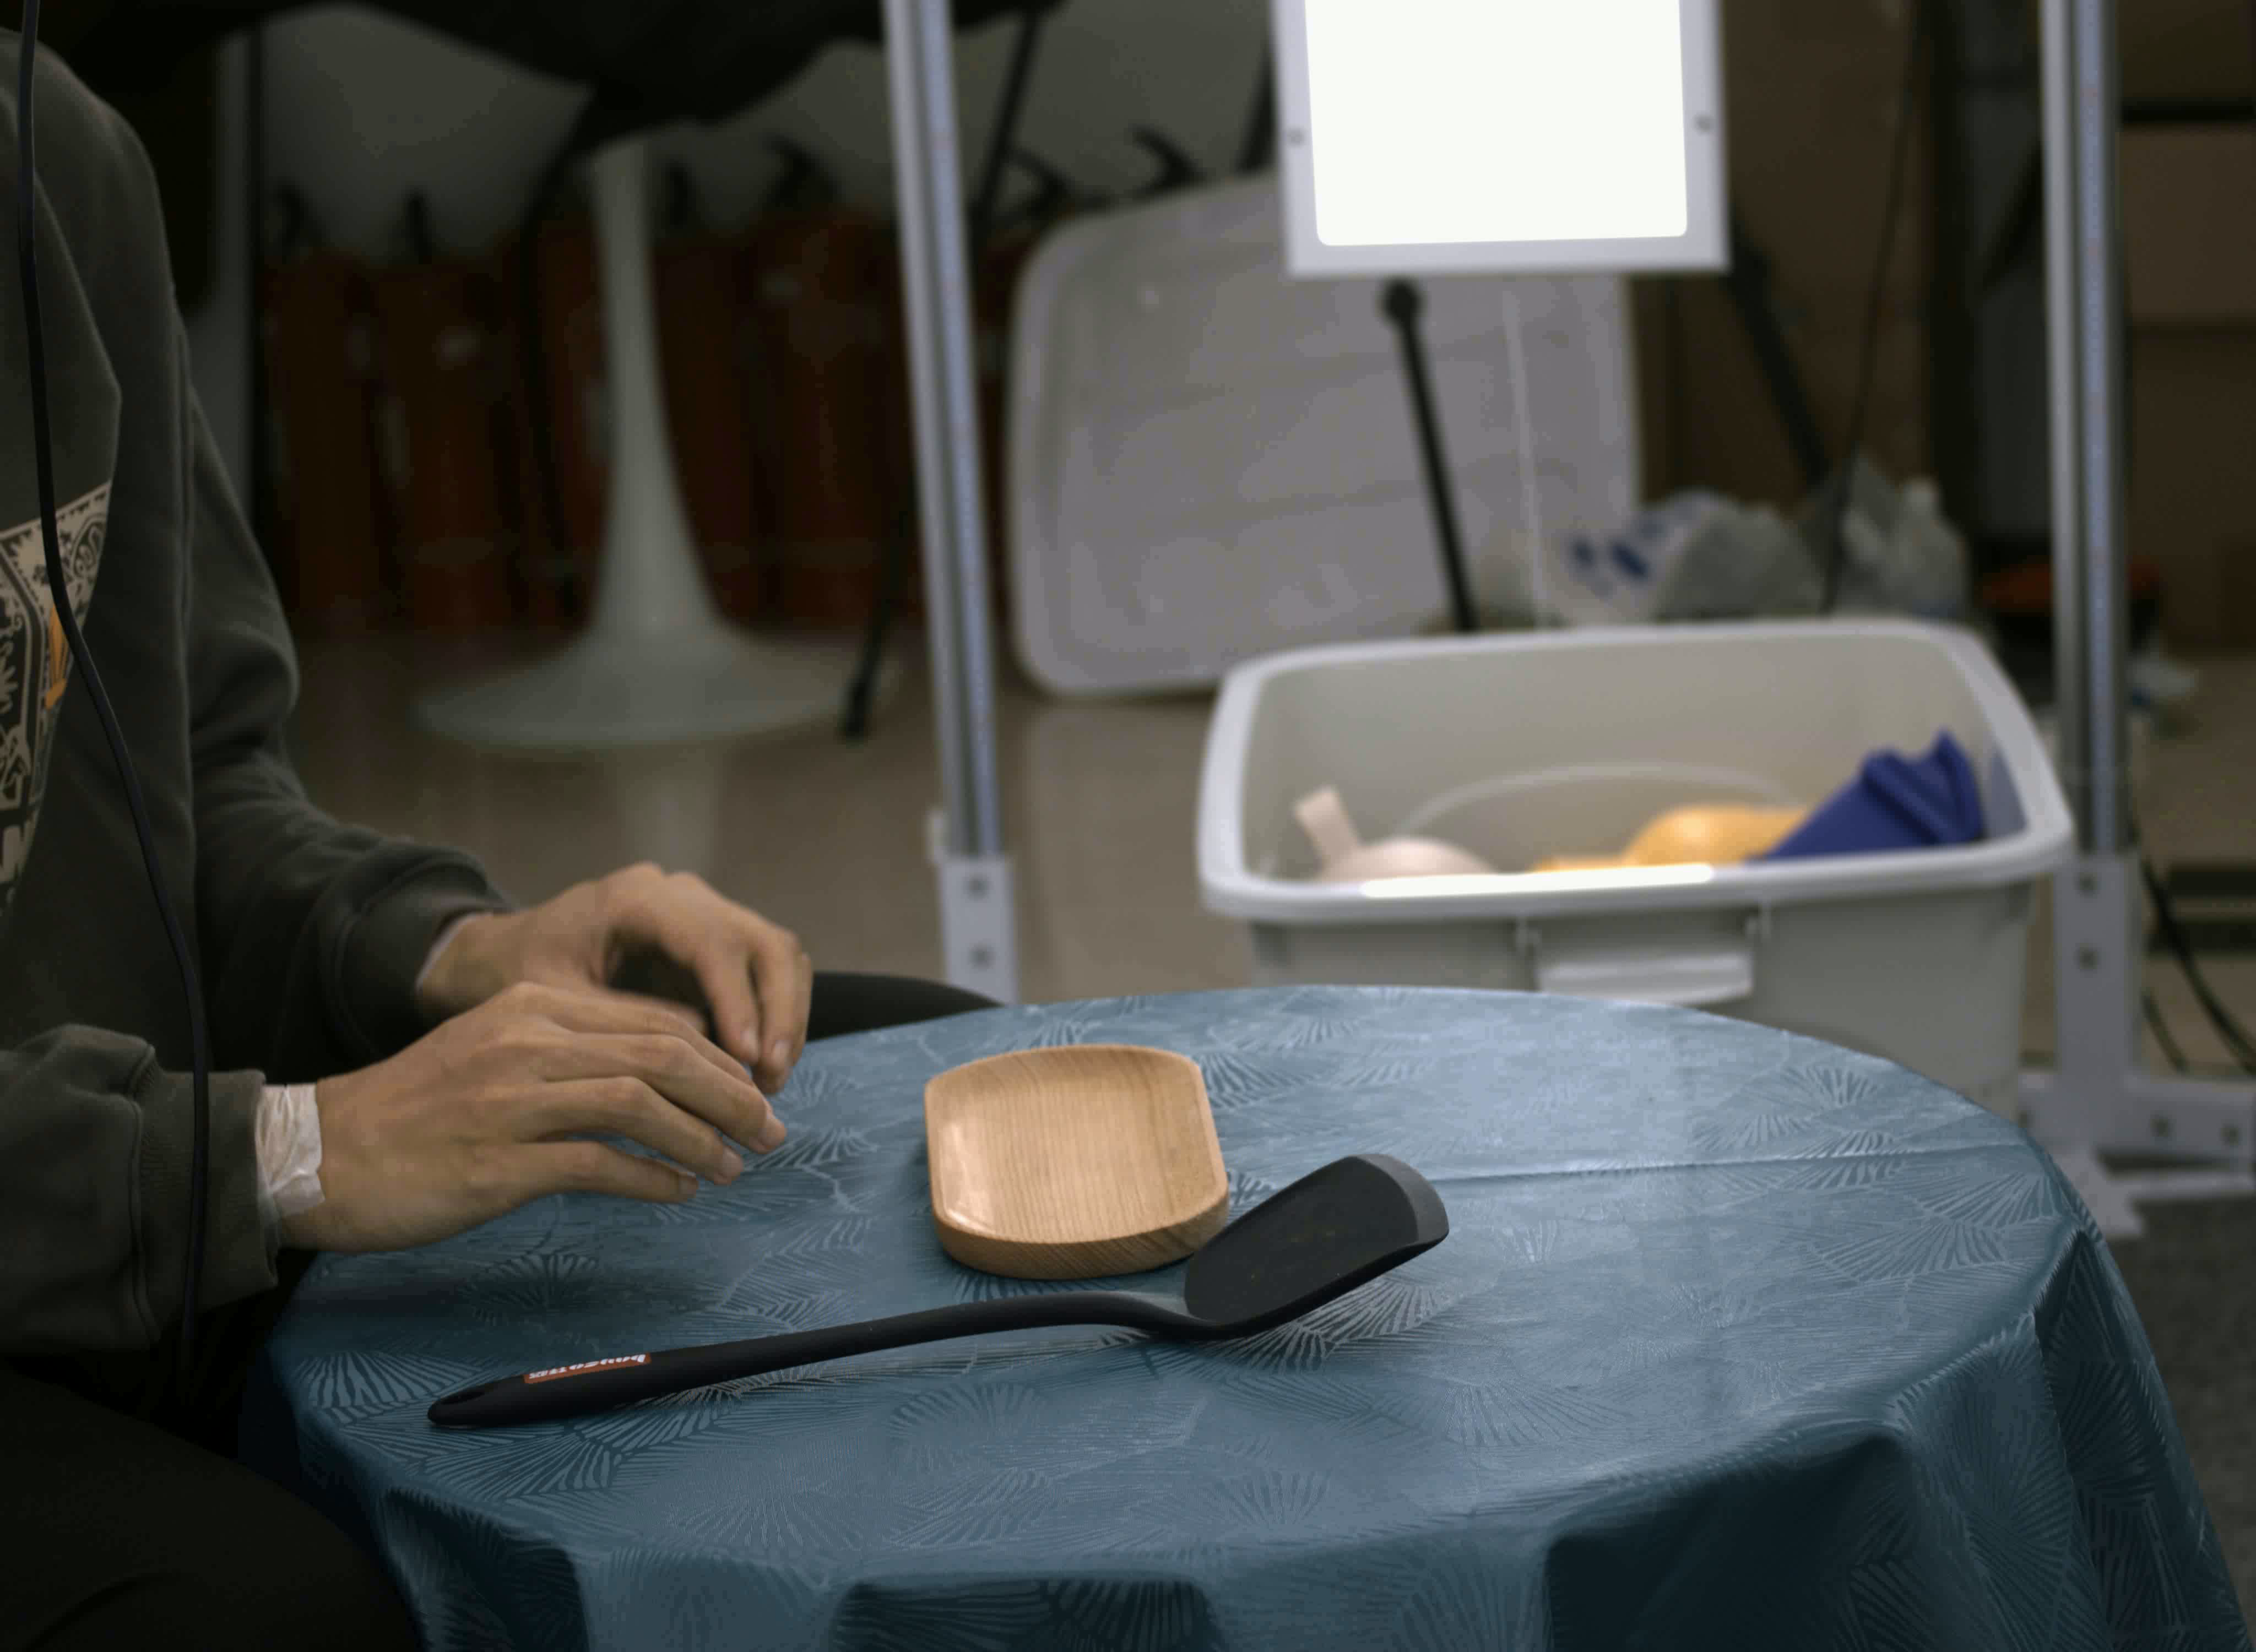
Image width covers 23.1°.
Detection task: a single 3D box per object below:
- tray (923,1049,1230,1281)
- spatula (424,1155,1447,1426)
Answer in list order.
[{"bbox_3d":[-0.019,0.116,1.914,0.101,0.020,0.231,-6,15,-1],"label":"tray"},{"bbox_3d":[-0.061,0.152,1.739,0.323,0.040,0.100,-7,13,-6],"label":"spatula"}]
